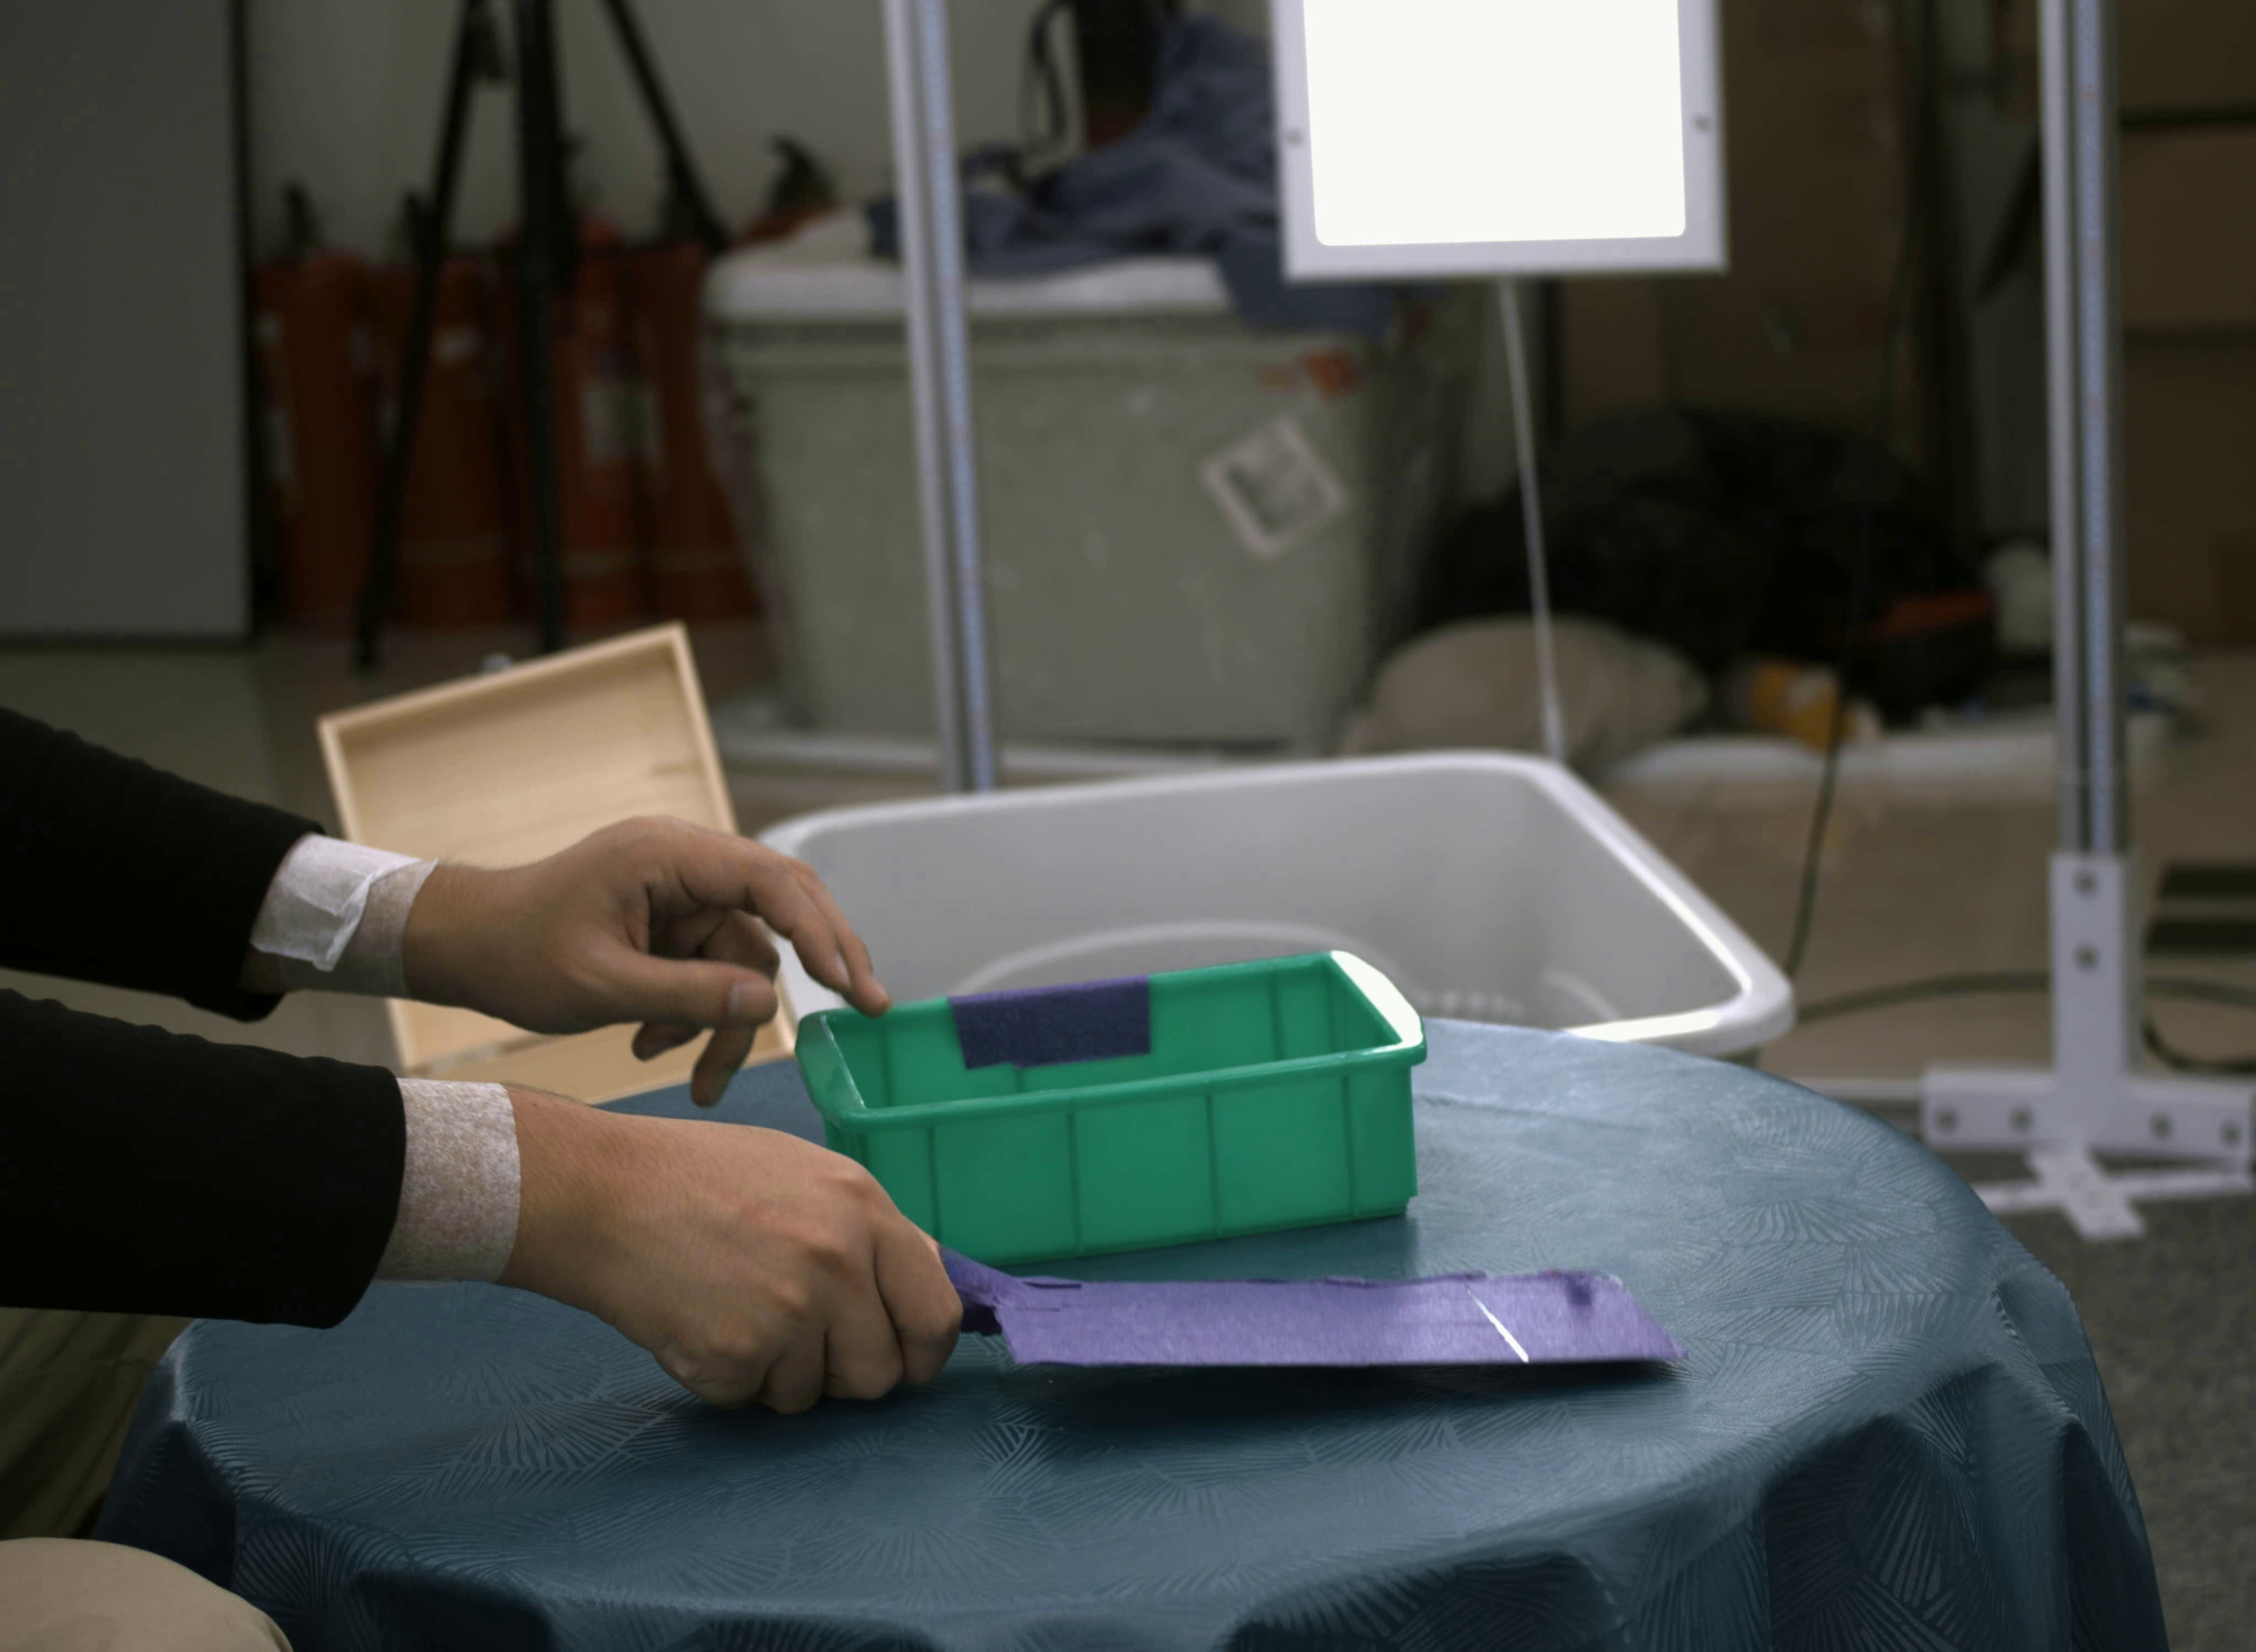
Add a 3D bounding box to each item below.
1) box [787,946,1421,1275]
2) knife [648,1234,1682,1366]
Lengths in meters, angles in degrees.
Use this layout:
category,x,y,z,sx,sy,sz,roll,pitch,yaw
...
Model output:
category,x,y,z,sx,sy,sz,roll,pitch,yaw
box,-0.007,0.098,1.885,0.208,0.065,0.139,-9,13,-7
knife,0.011,0.146,1.697,0.313,0.032,0.104,-3,10,-6
